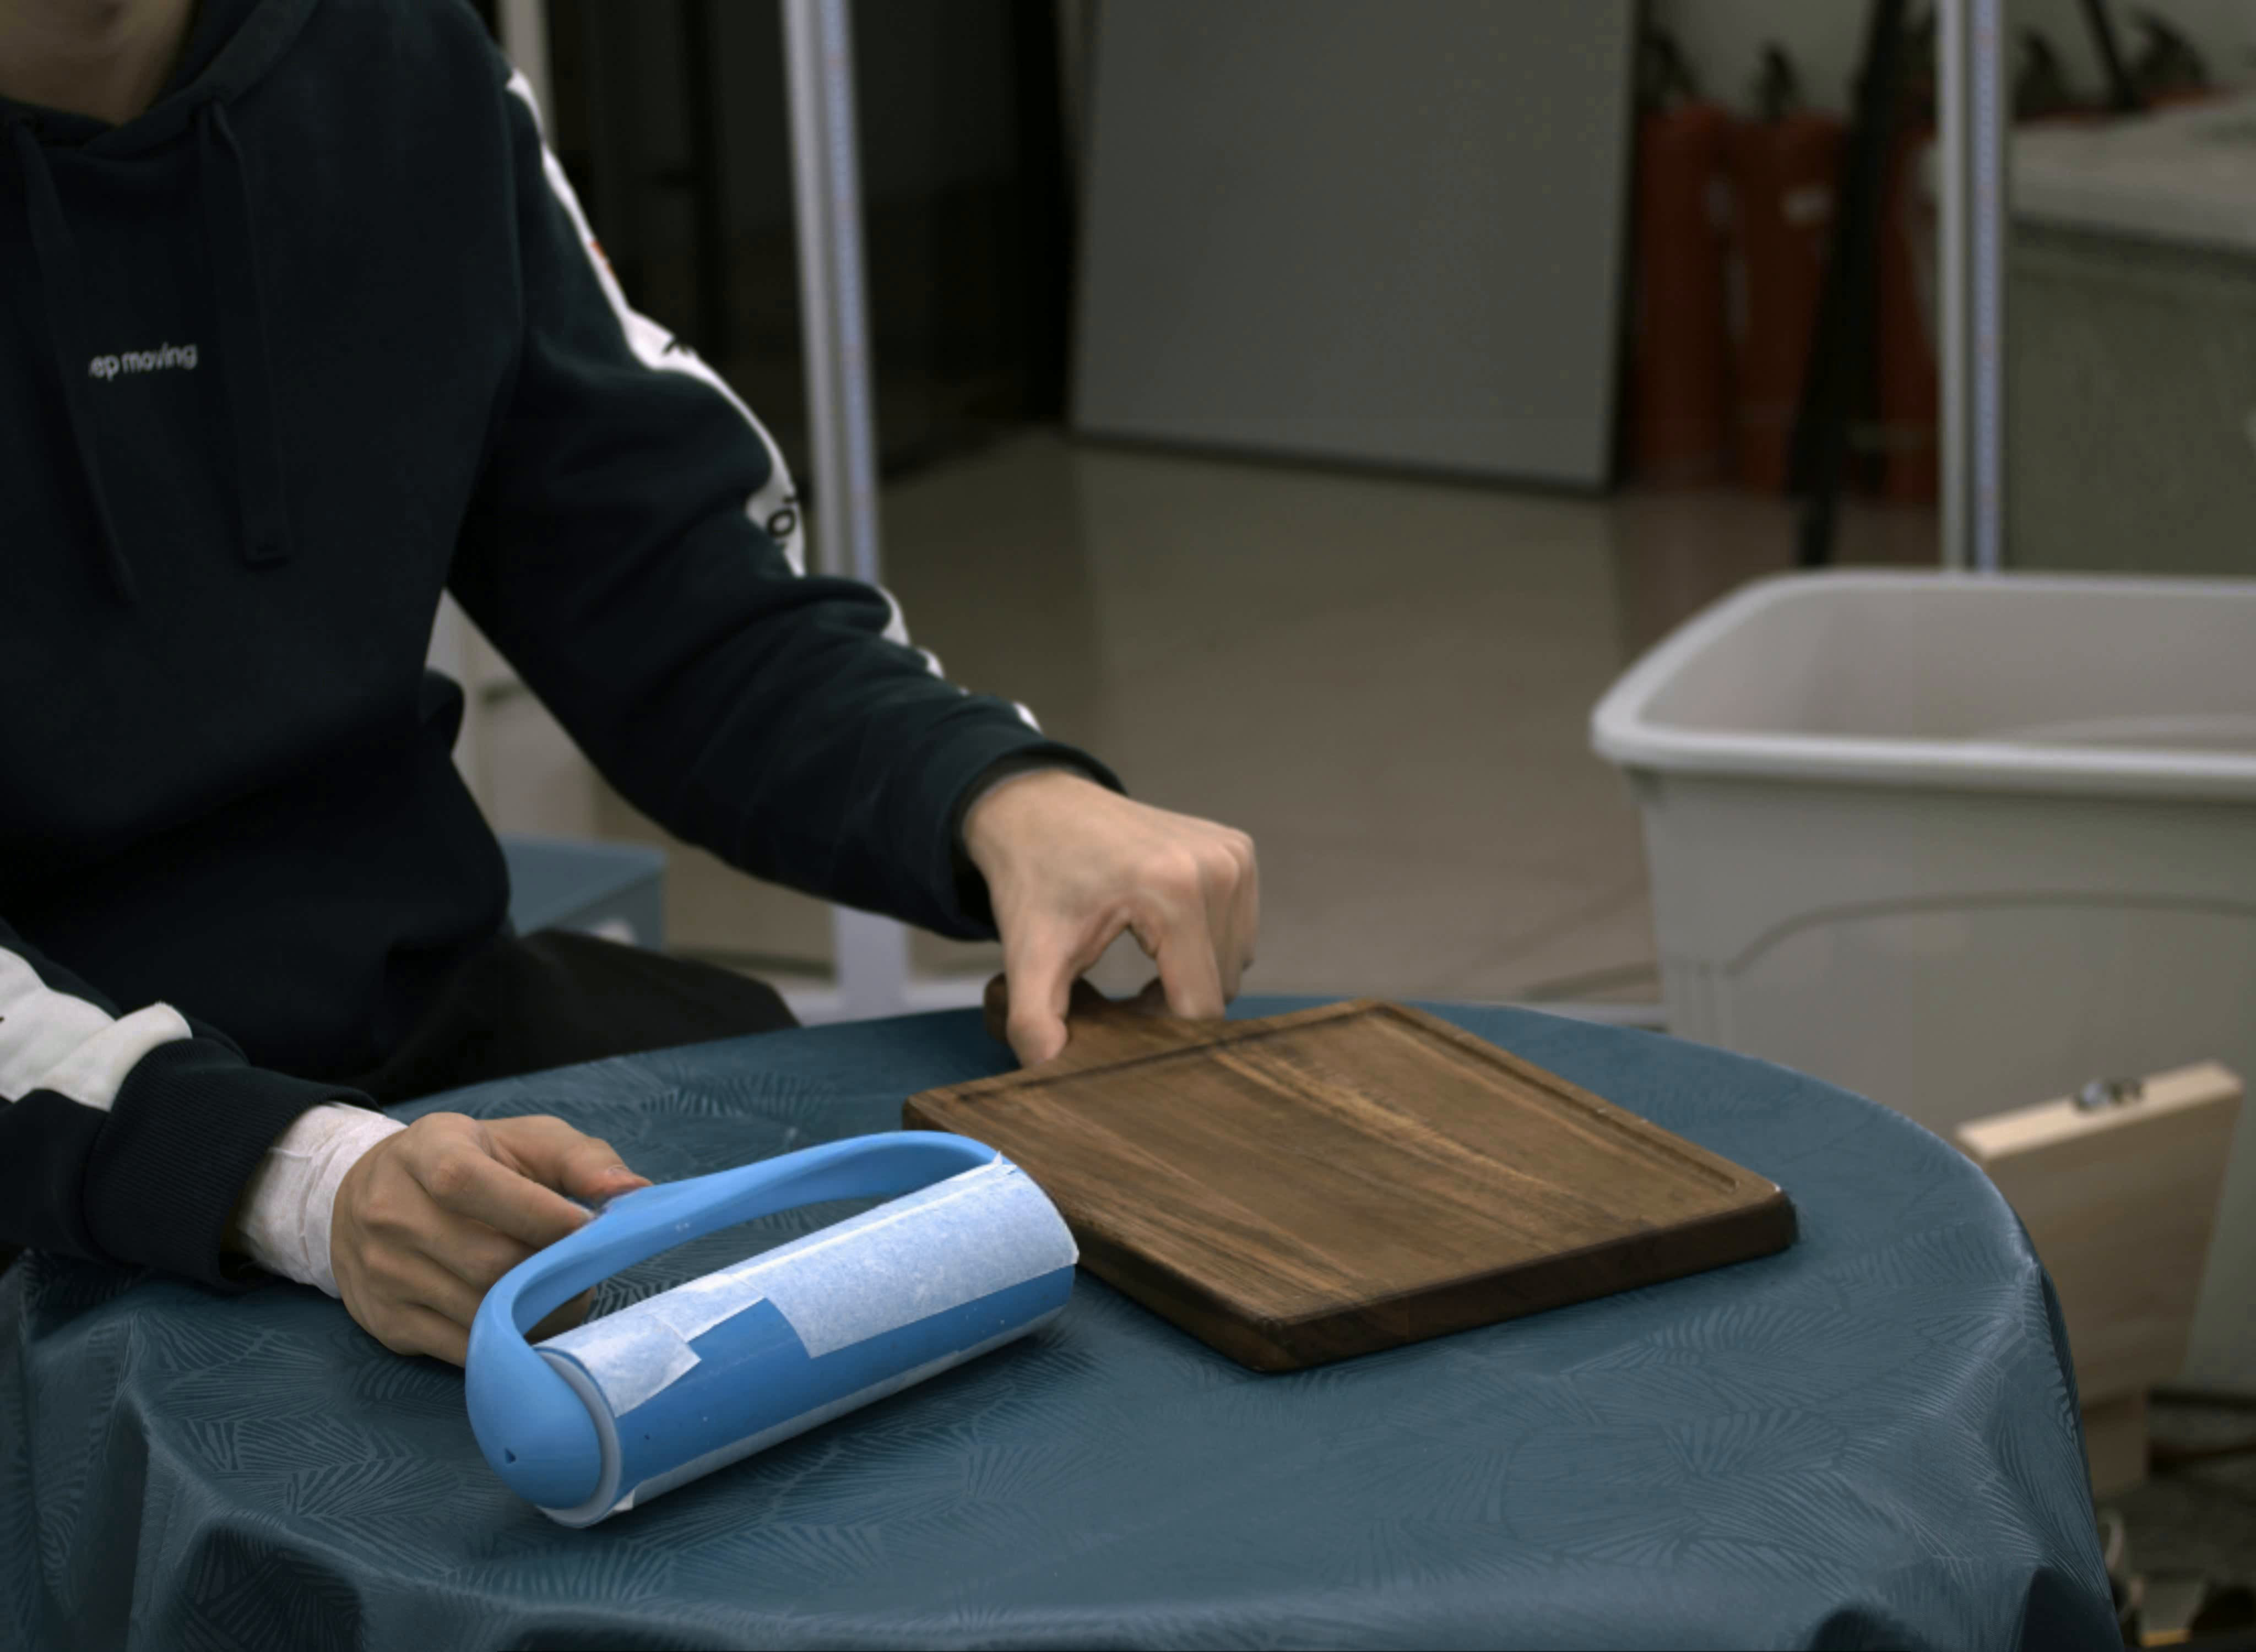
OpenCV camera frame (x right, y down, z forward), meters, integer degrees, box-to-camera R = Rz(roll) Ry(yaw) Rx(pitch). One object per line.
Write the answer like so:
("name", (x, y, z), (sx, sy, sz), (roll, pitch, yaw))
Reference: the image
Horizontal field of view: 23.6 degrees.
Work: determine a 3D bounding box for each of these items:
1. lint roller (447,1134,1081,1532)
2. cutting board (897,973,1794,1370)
("lint roller", (-0.141, 0.142, 1.610), (0.181, 0.068, 0.225), (8, 20, 39))
("cutting board", (0.042, 0.100, 1.775), (0.196, 0.023, 0.356), (-10, 17, -27))
